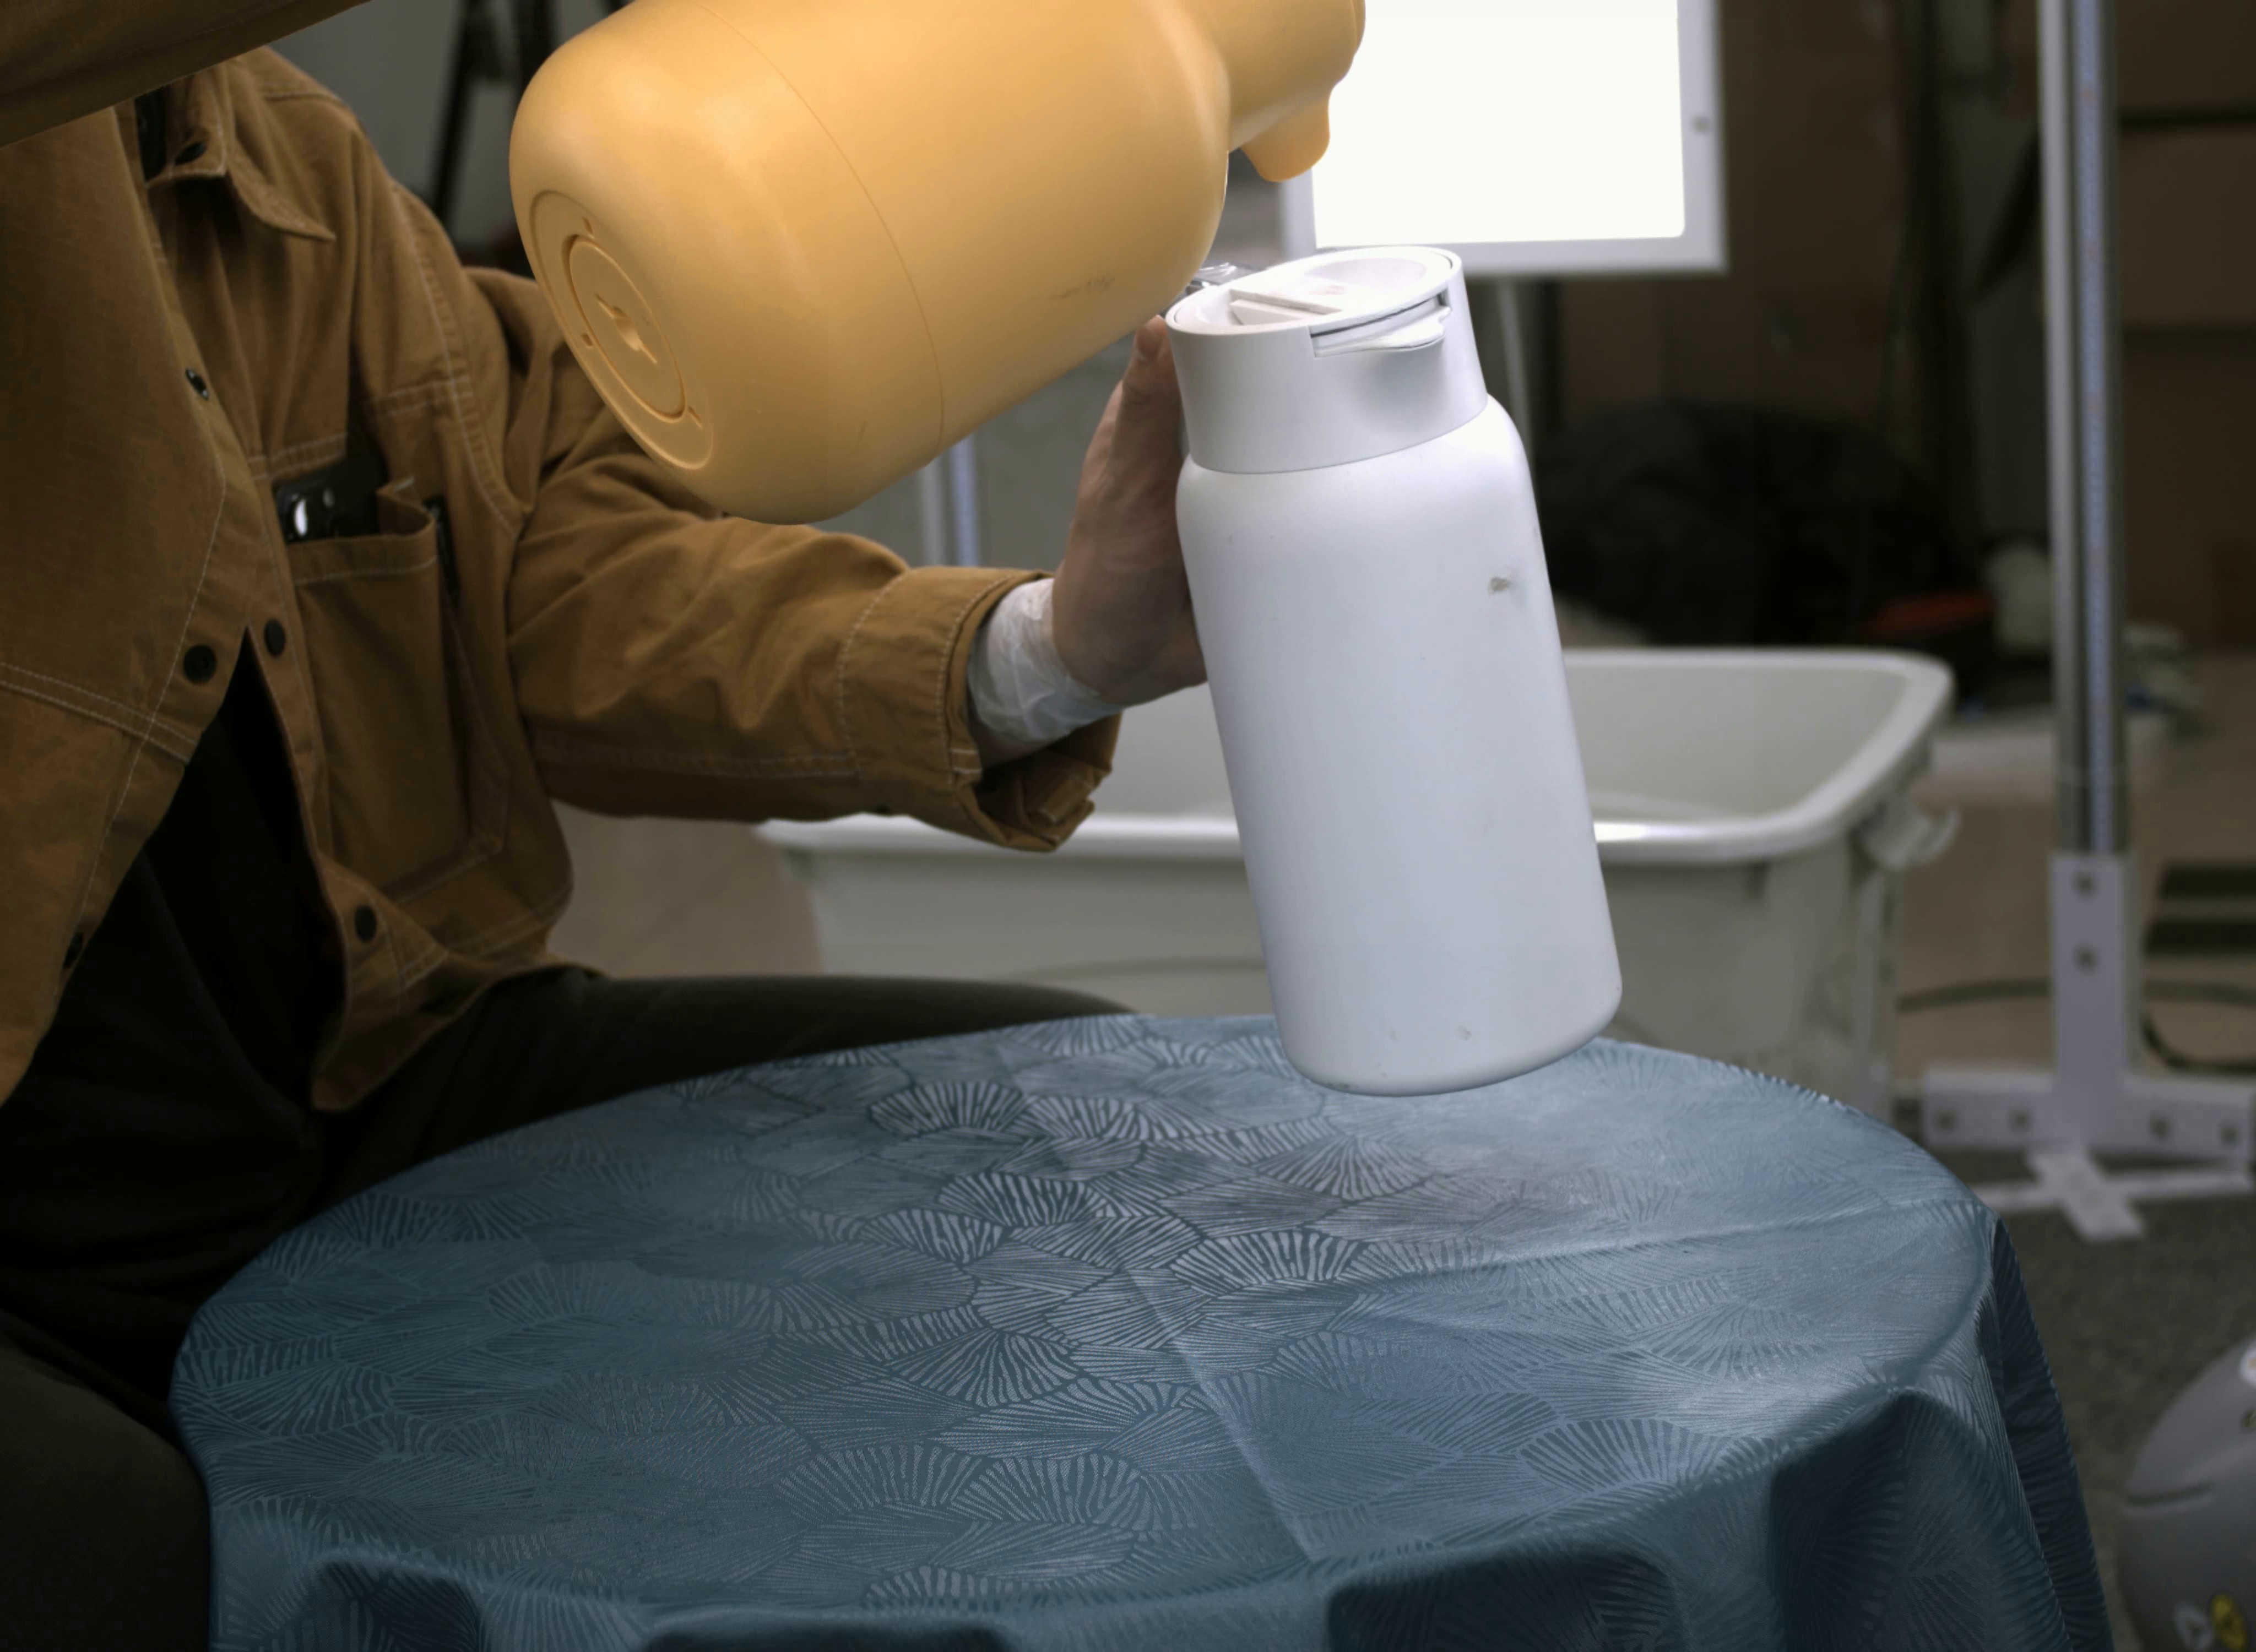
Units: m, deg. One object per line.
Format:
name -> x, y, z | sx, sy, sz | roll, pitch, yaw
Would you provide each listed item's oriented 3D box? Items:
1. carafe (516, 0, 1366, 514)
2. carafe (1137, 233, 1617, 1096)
carafe -> -0.053, -0.232, 1.664 | 0.256, 0.202, 0.166 | -33, 35, -23
carafe -> 0.074, -0.055, 1.827 | 0.121, 0.269, 0.176 | -23, 20, -24
